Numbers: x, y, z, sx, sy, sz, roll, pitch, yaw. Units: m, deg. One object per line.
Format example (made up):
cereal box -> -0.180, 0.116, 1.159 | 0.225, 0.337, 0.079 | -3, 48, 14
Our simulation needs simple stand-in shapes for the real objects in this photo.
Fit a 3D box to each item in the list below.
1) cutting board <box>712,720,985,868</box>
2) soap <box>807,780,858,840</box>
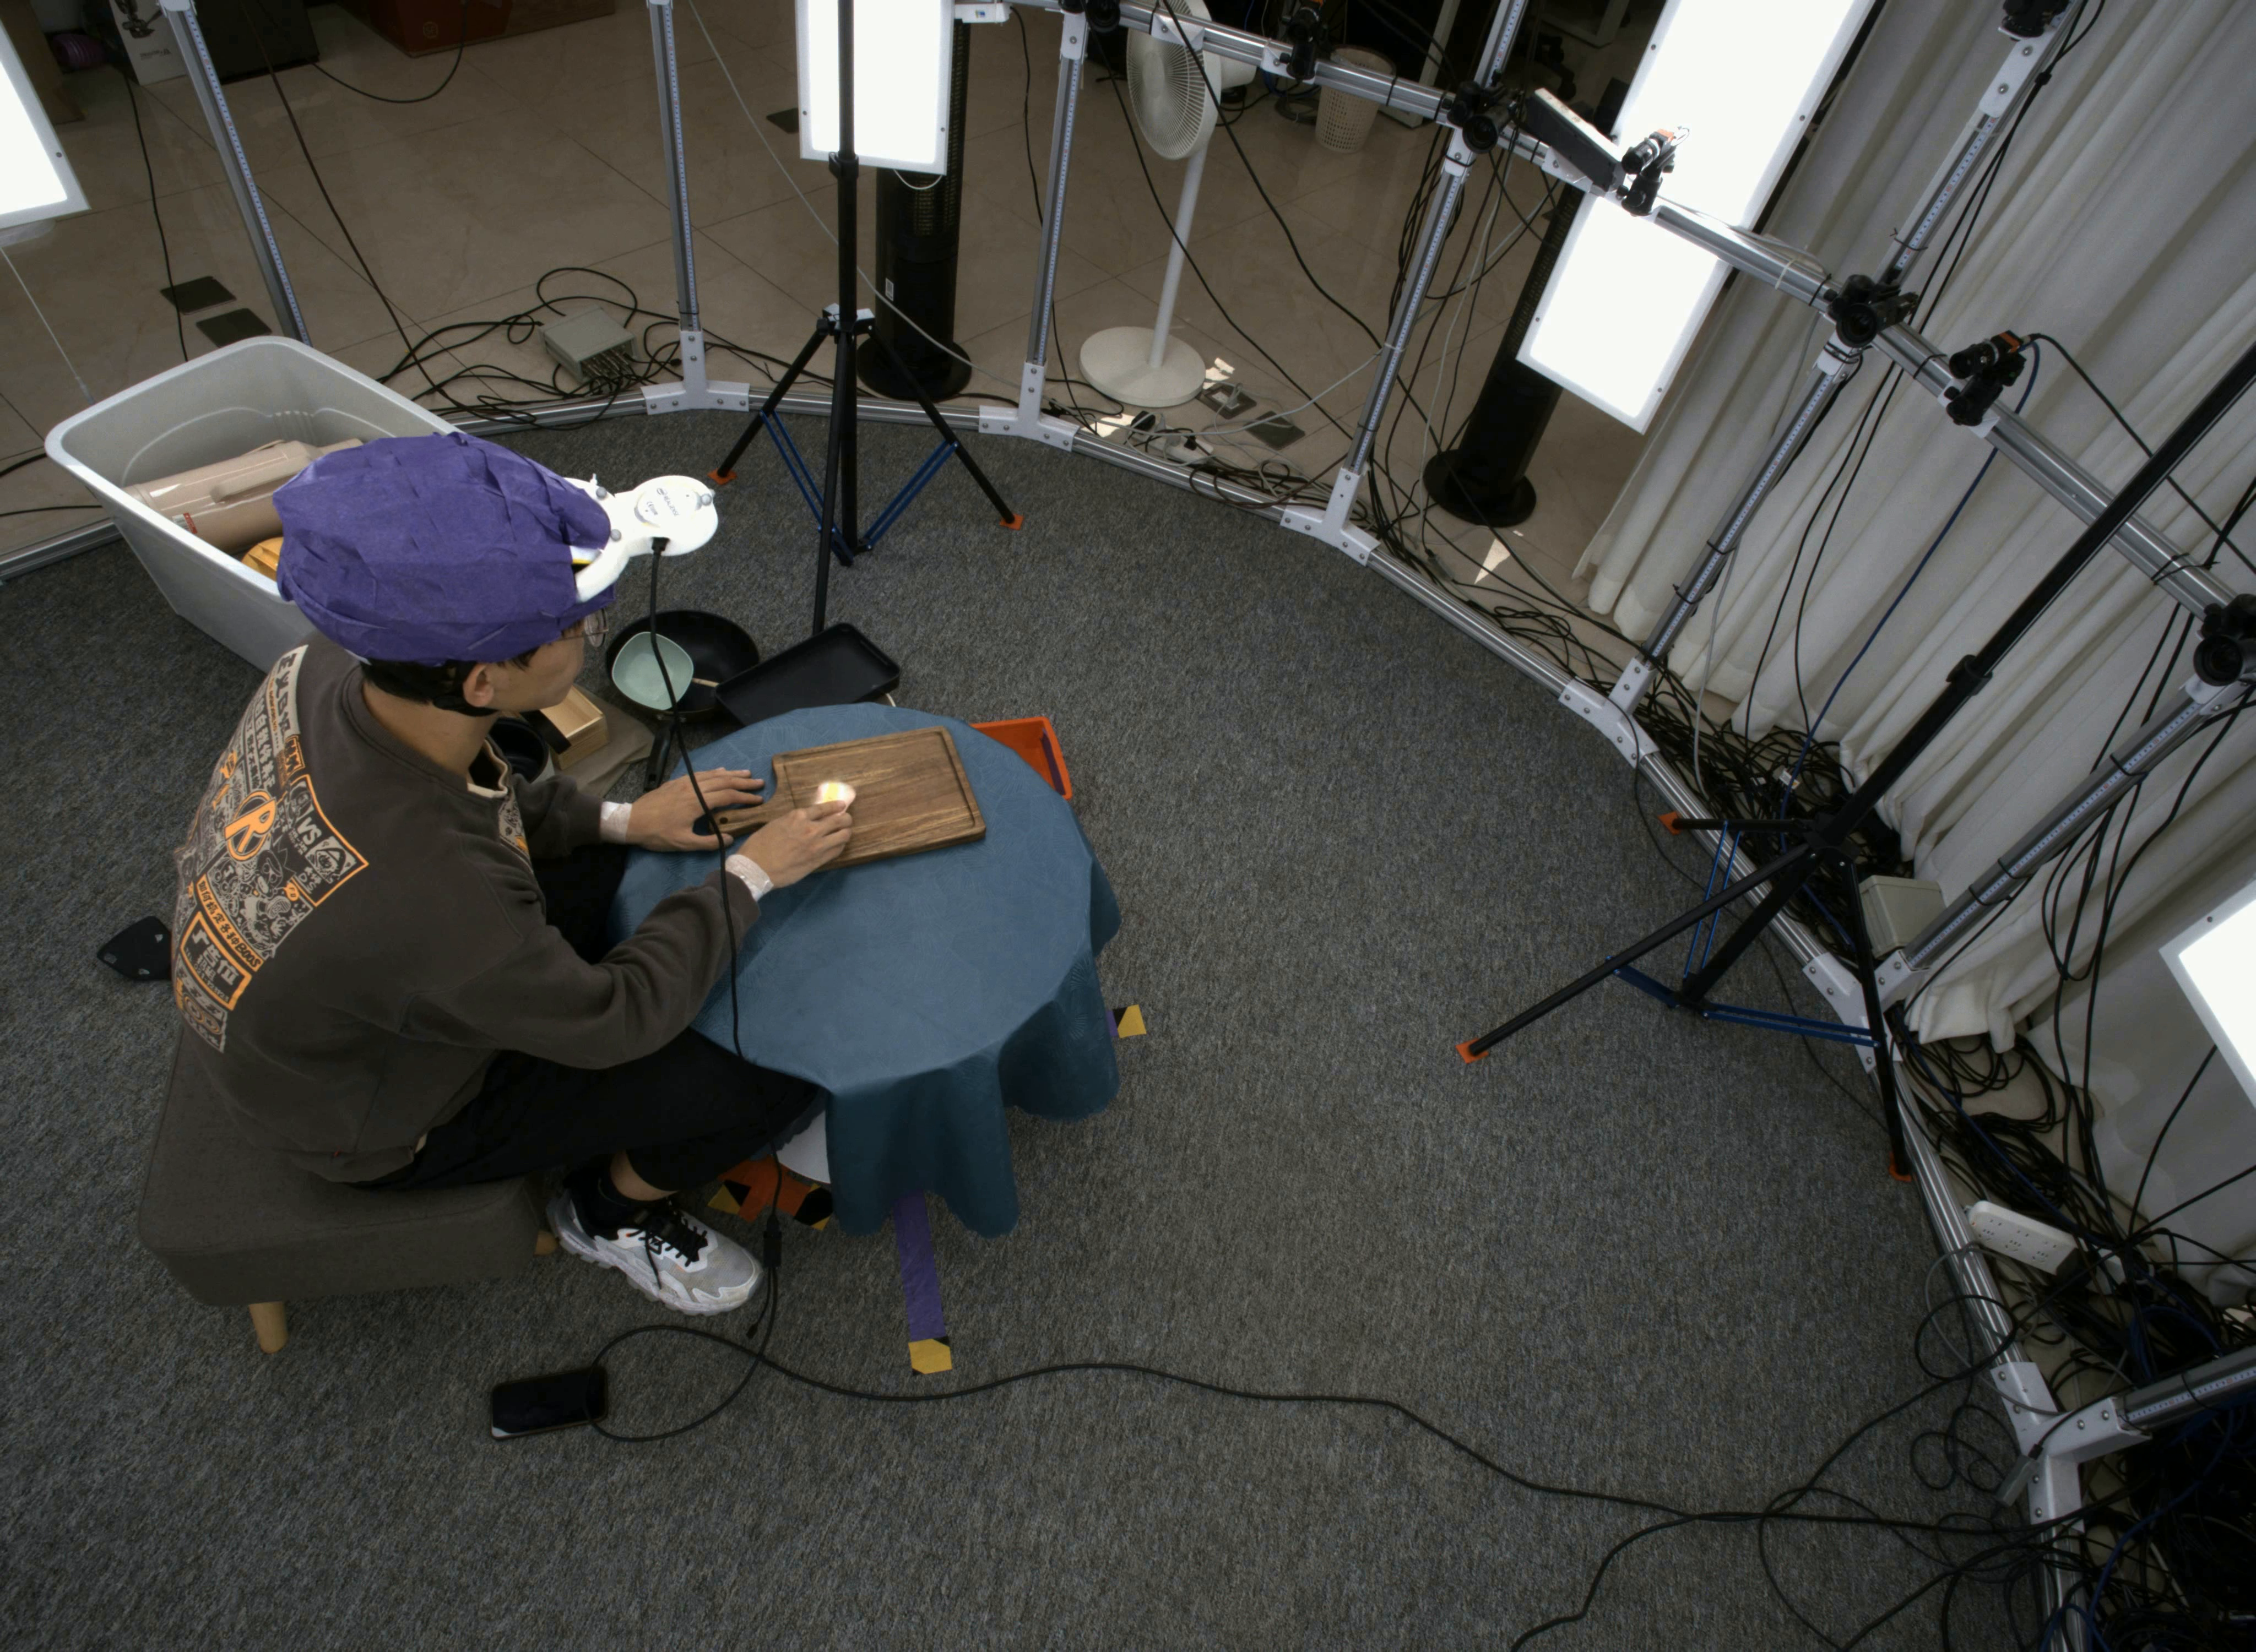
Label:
cutting board -> -0.386, -0.040, 1.764 | 0.353, 0.023, 0.196 | -11, 58, -21
soap -> -0.390, -0.022, 1.711 | 0.050, 0.031, 0.093 | 13, 51, -3
